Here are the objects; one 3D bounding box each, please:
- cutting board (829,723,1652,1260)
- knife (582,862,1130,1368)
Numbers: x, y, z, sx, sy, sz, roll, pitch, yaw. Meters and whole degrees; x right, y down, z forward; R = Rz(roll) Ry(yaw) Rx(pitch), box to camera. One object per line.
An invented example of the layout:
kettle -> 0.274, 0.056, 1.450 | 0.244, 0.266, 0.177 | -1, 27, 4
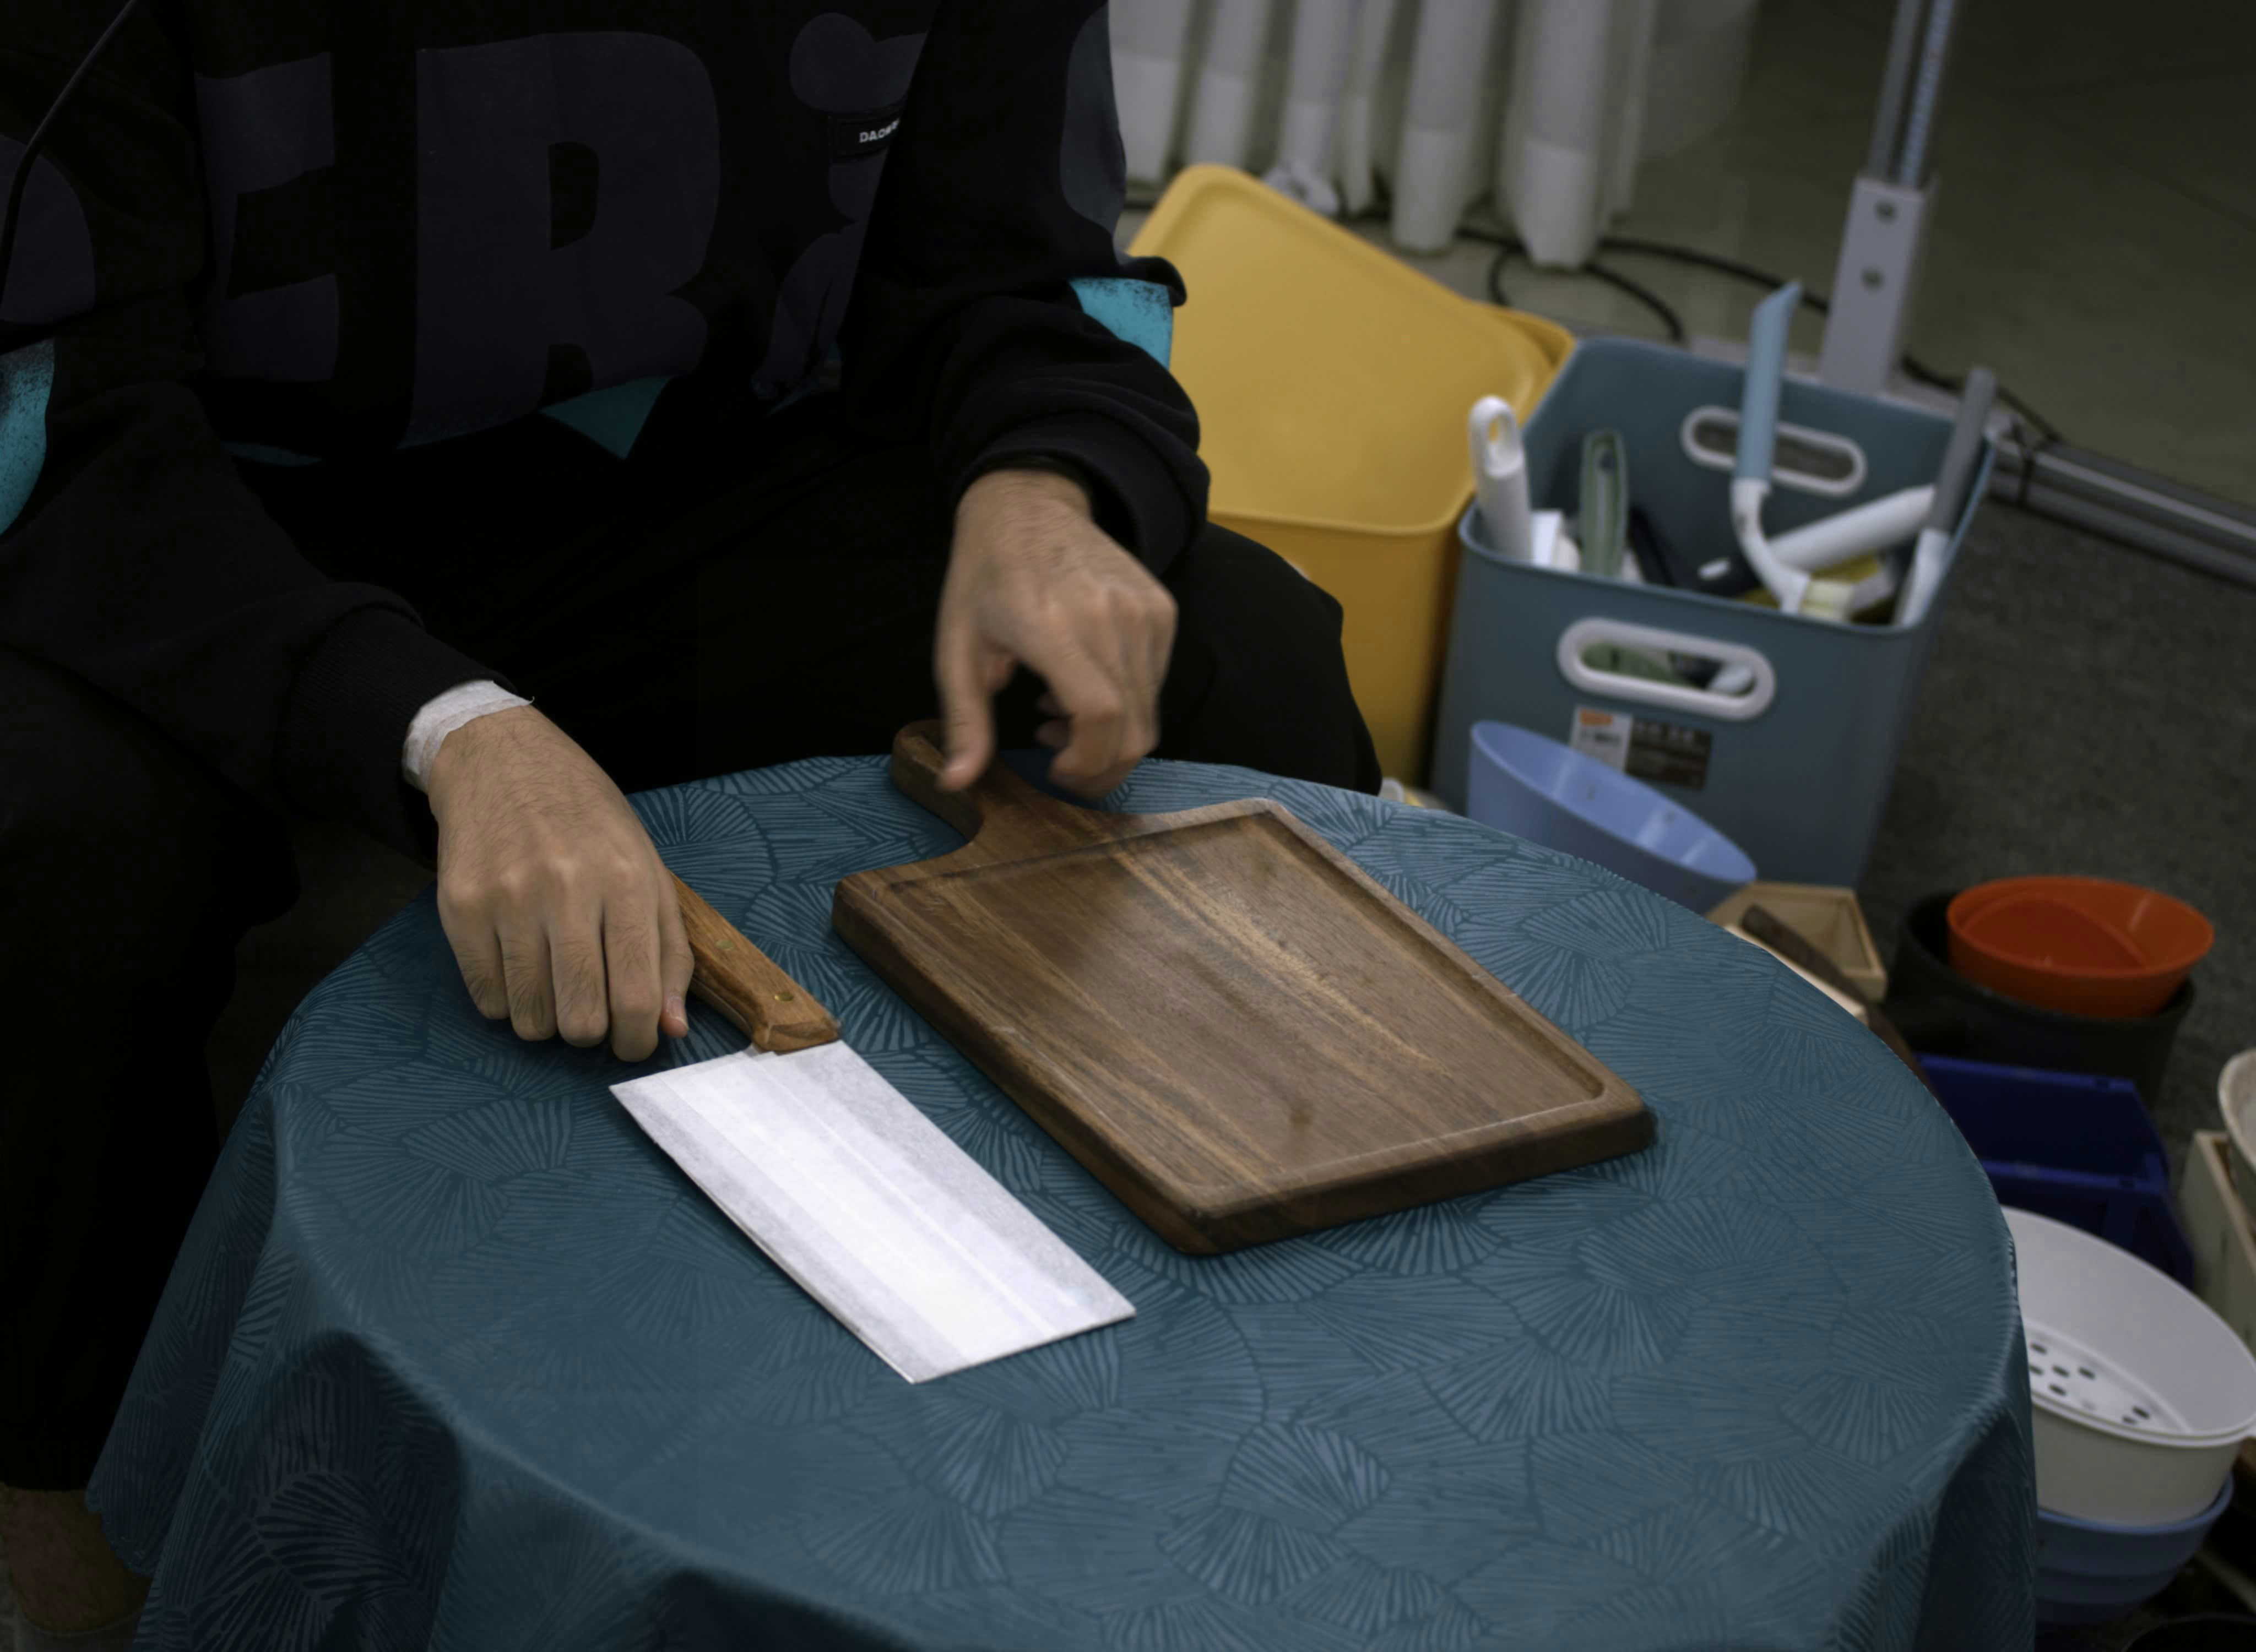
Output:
cutting board -> 0.011, 0.045, 1.936 | 0.200, 0.023, 0.355 | -11, 32, -31
knife -> -0.118, 0.097, 1.811 | 0.092, 0.021, 0.308 | -15, 36, -33
